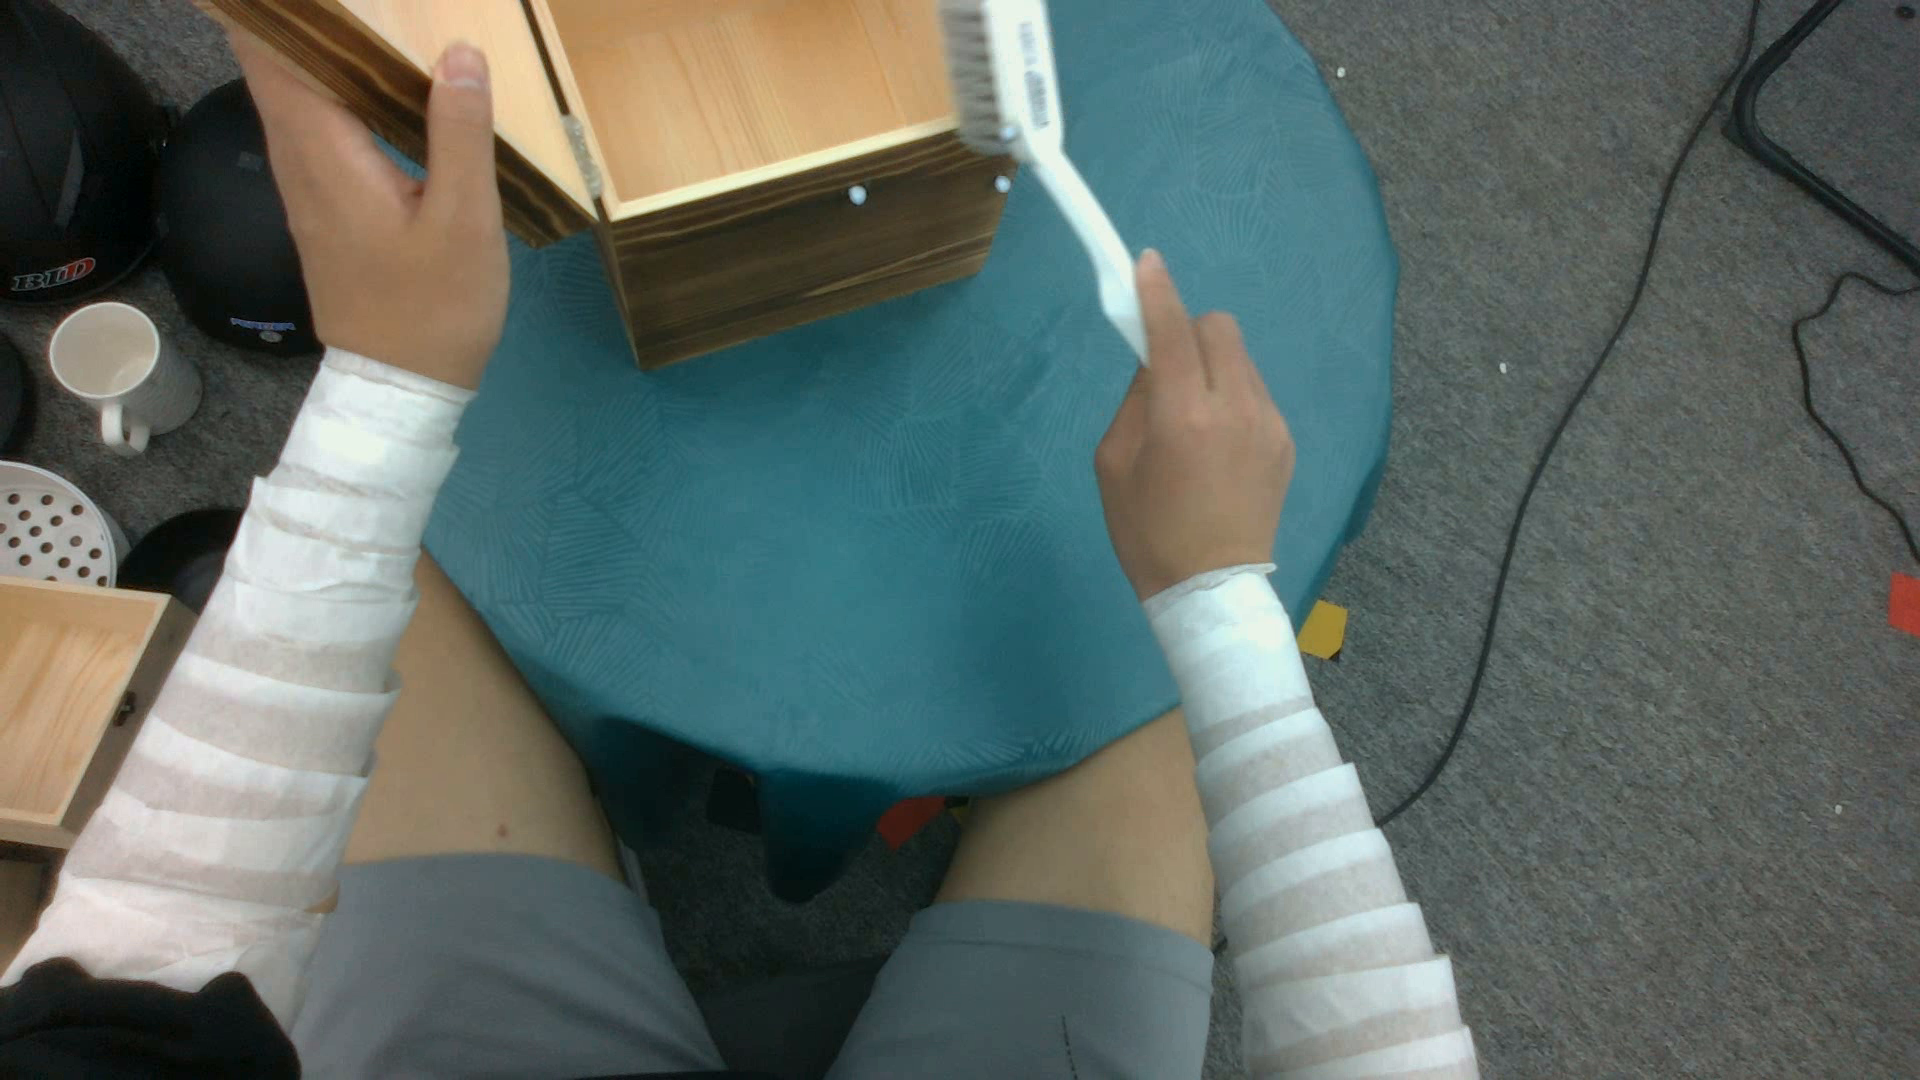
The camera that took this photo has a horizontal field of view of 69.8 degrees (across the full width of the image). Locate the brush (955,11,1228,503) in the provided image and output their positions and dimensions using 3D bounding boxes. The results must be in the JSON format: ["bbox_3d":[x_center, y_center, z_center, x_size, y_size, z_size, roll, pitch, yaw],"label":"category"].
[{"bbox_3d":[0.058,-0.124,0.627,0.034,0.050,0.243,-40,110,-54],"label":"brush"}]

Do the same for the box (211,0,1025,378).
[{"bbox_3d":[-0.139,-0.236,0.620,0.322,0.374,0.209,-20,80,-11],"label":"box"}]
